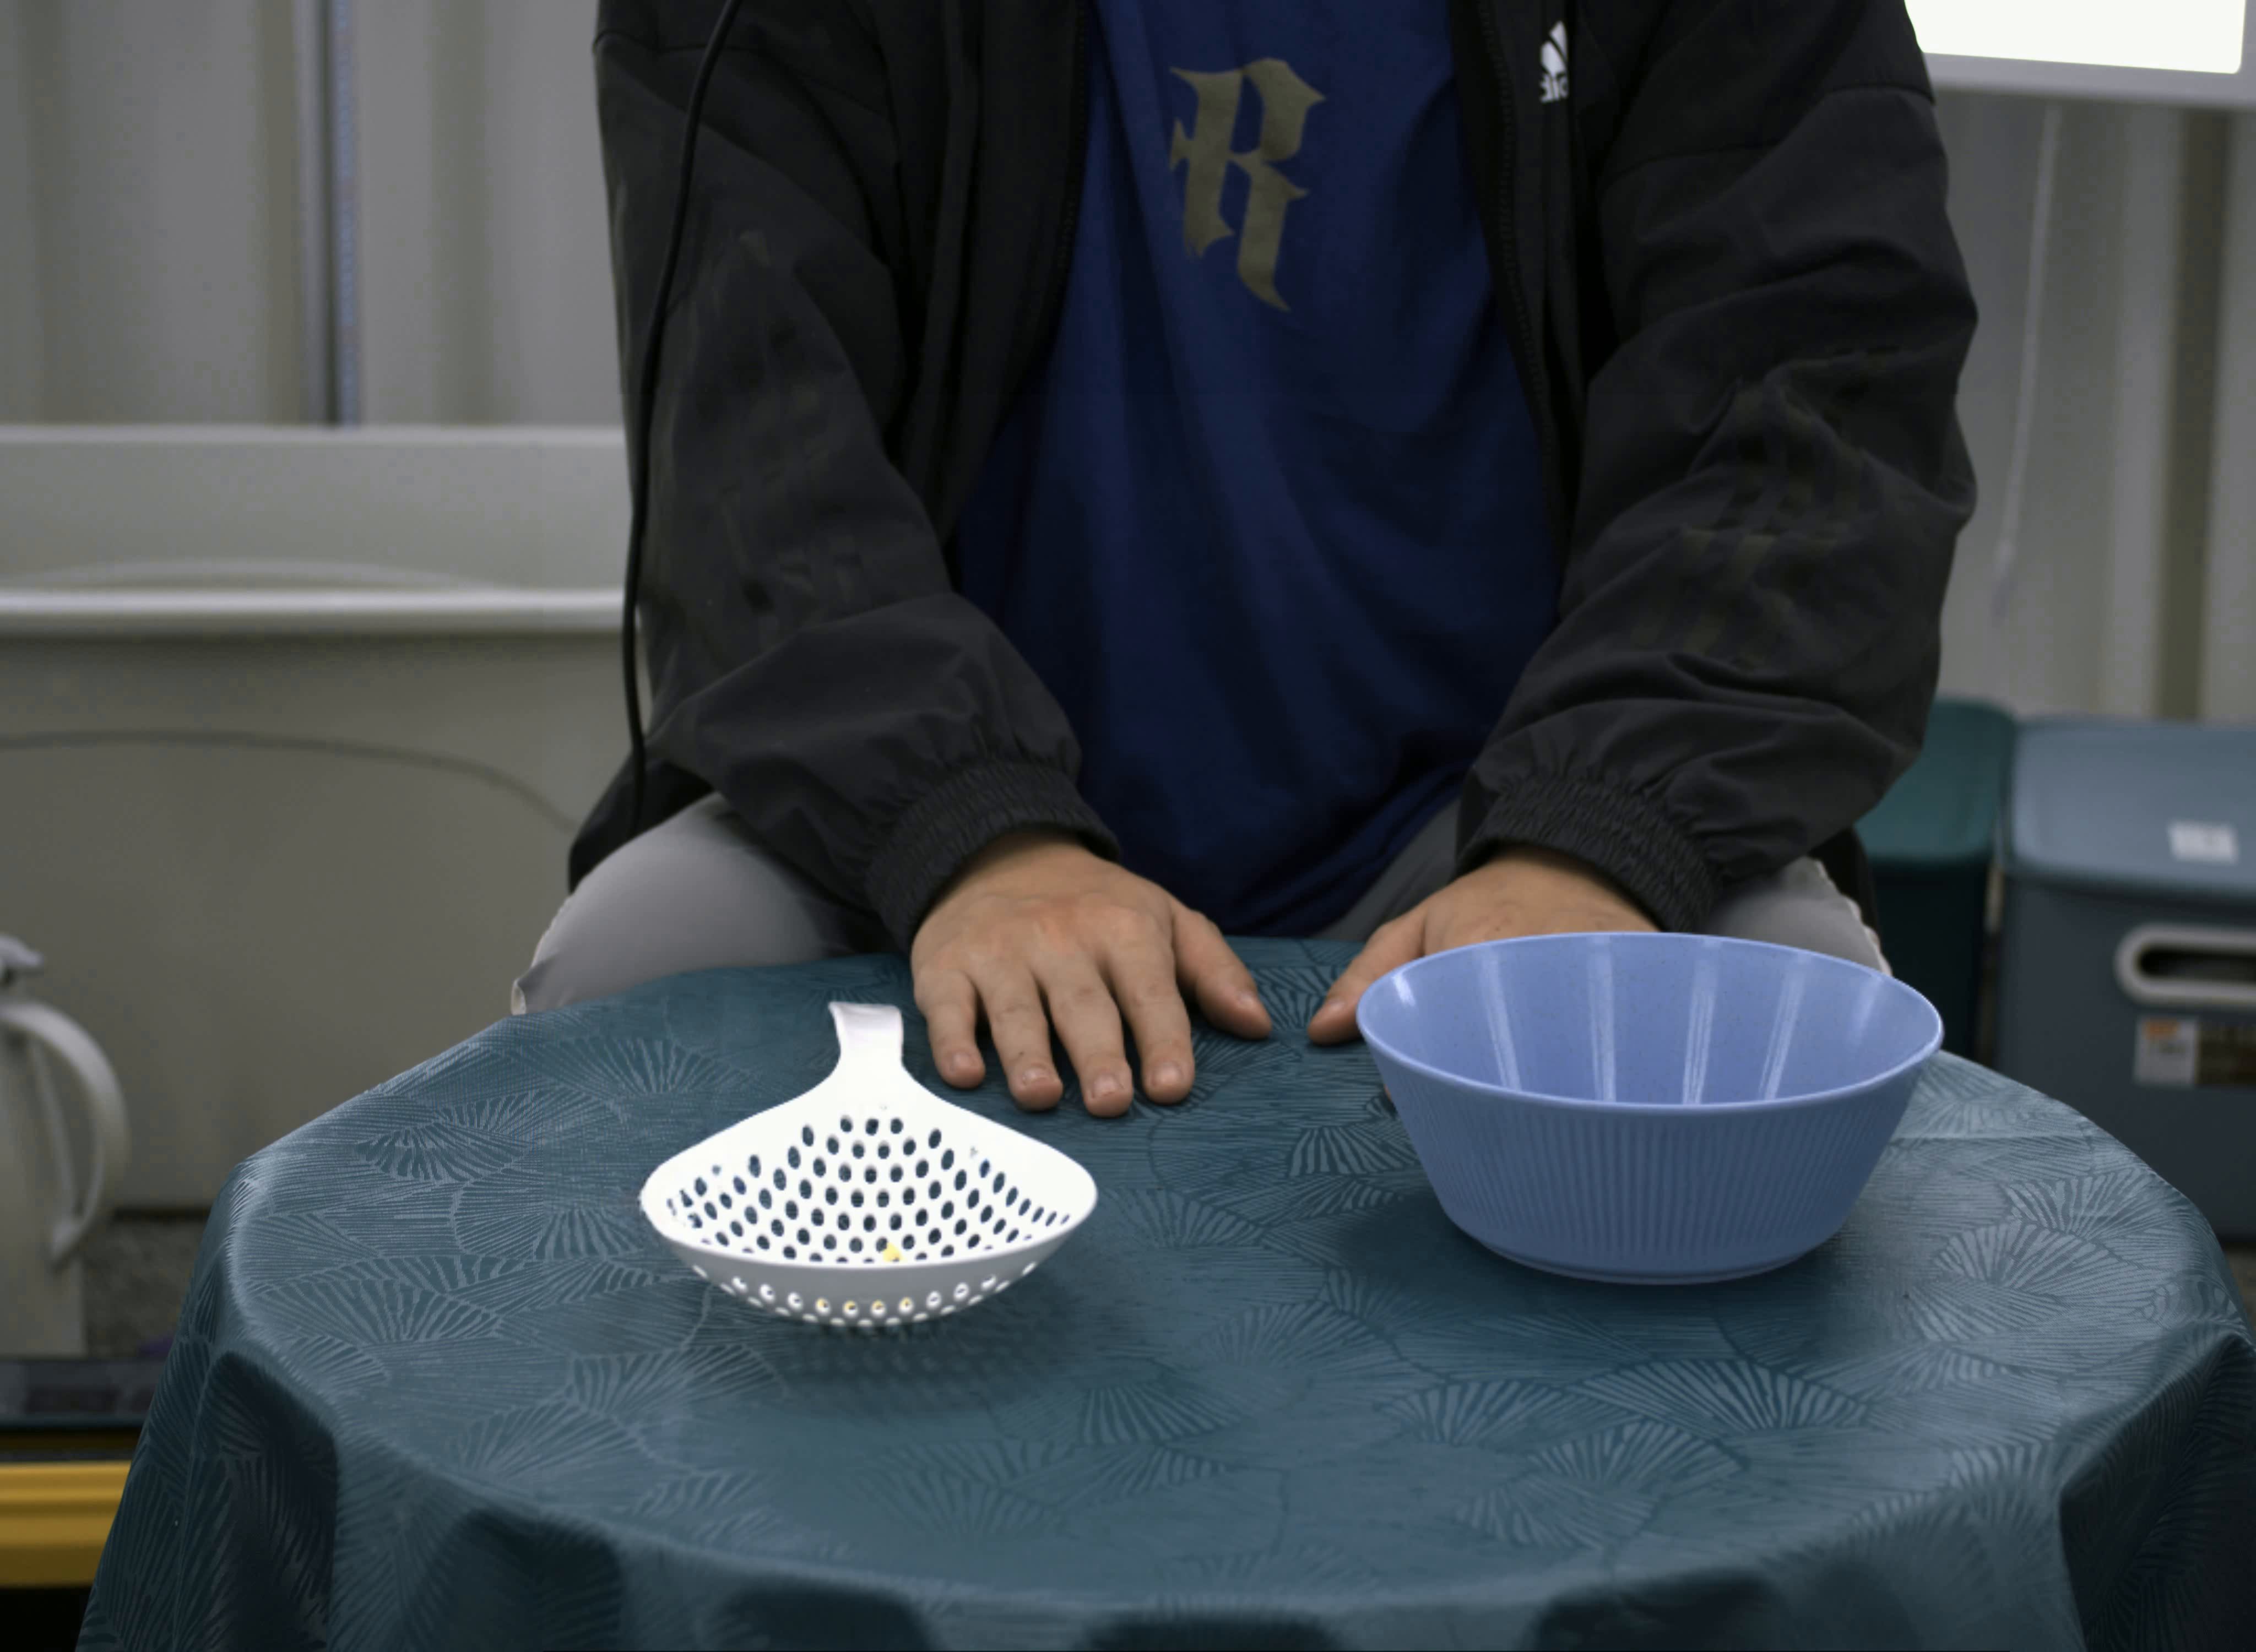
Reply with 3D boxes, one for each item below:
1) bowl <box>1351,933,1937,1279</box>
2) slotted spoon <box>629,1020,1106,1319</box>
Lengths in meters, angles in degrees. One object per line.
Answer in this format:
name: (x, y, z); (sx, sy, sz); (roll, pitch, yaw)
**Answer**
bowl: (0.154, 0.086, 1.588); (0.175, 0.071, 0.175); (1, 15, 0)
slotted spoon: (-0.081, 0.091, 1.617); (0.136, 0.051, 0.345); (-4, 15, -3)
